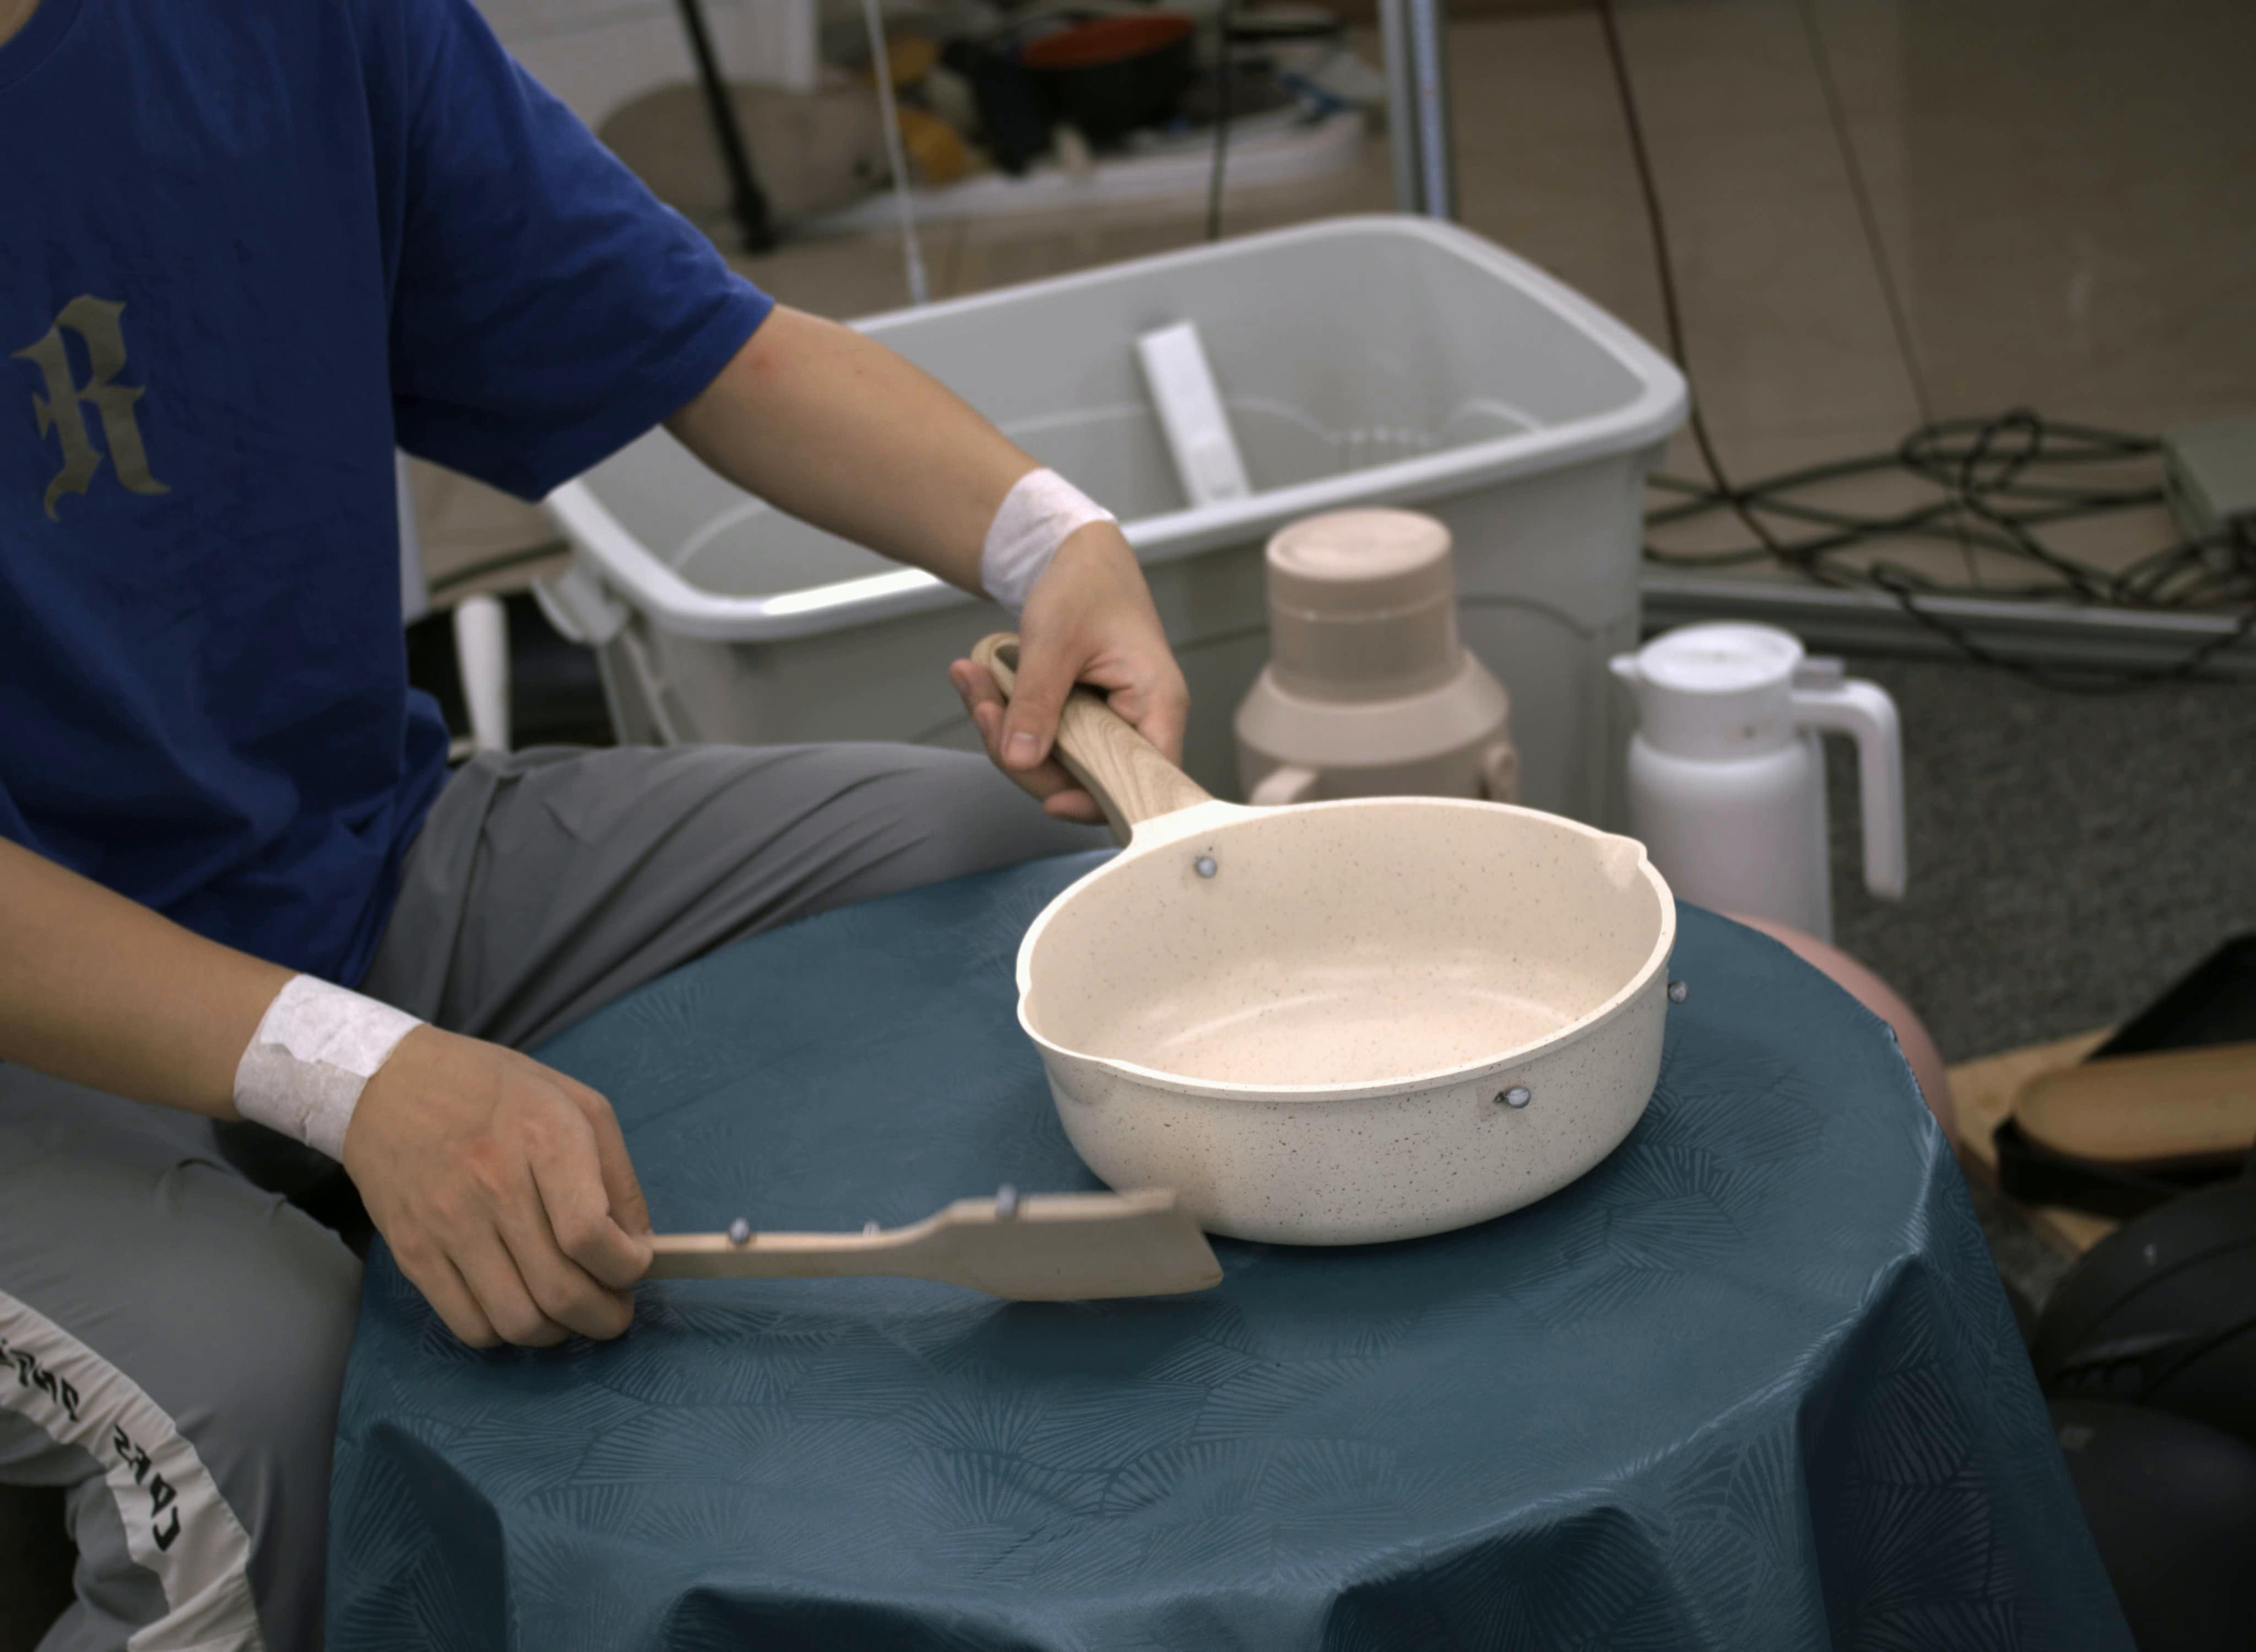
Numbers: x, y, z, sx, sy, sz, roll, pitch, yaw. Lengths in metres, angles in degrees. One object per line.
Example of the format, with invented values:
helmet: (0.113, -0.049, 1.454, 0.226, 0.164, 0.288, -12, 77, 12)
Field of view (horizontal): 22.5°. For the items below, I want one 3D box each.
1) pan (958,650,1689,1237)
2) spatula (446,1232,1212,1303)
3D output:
pan: (0.048, 0.039, 2.231, 0.262, 0.103, 0.430, -19, 27, -22)
spatula: (-0.116, 0.159, 2.078, 0.292, 0.073, 0.010, -1, 70, 19)
